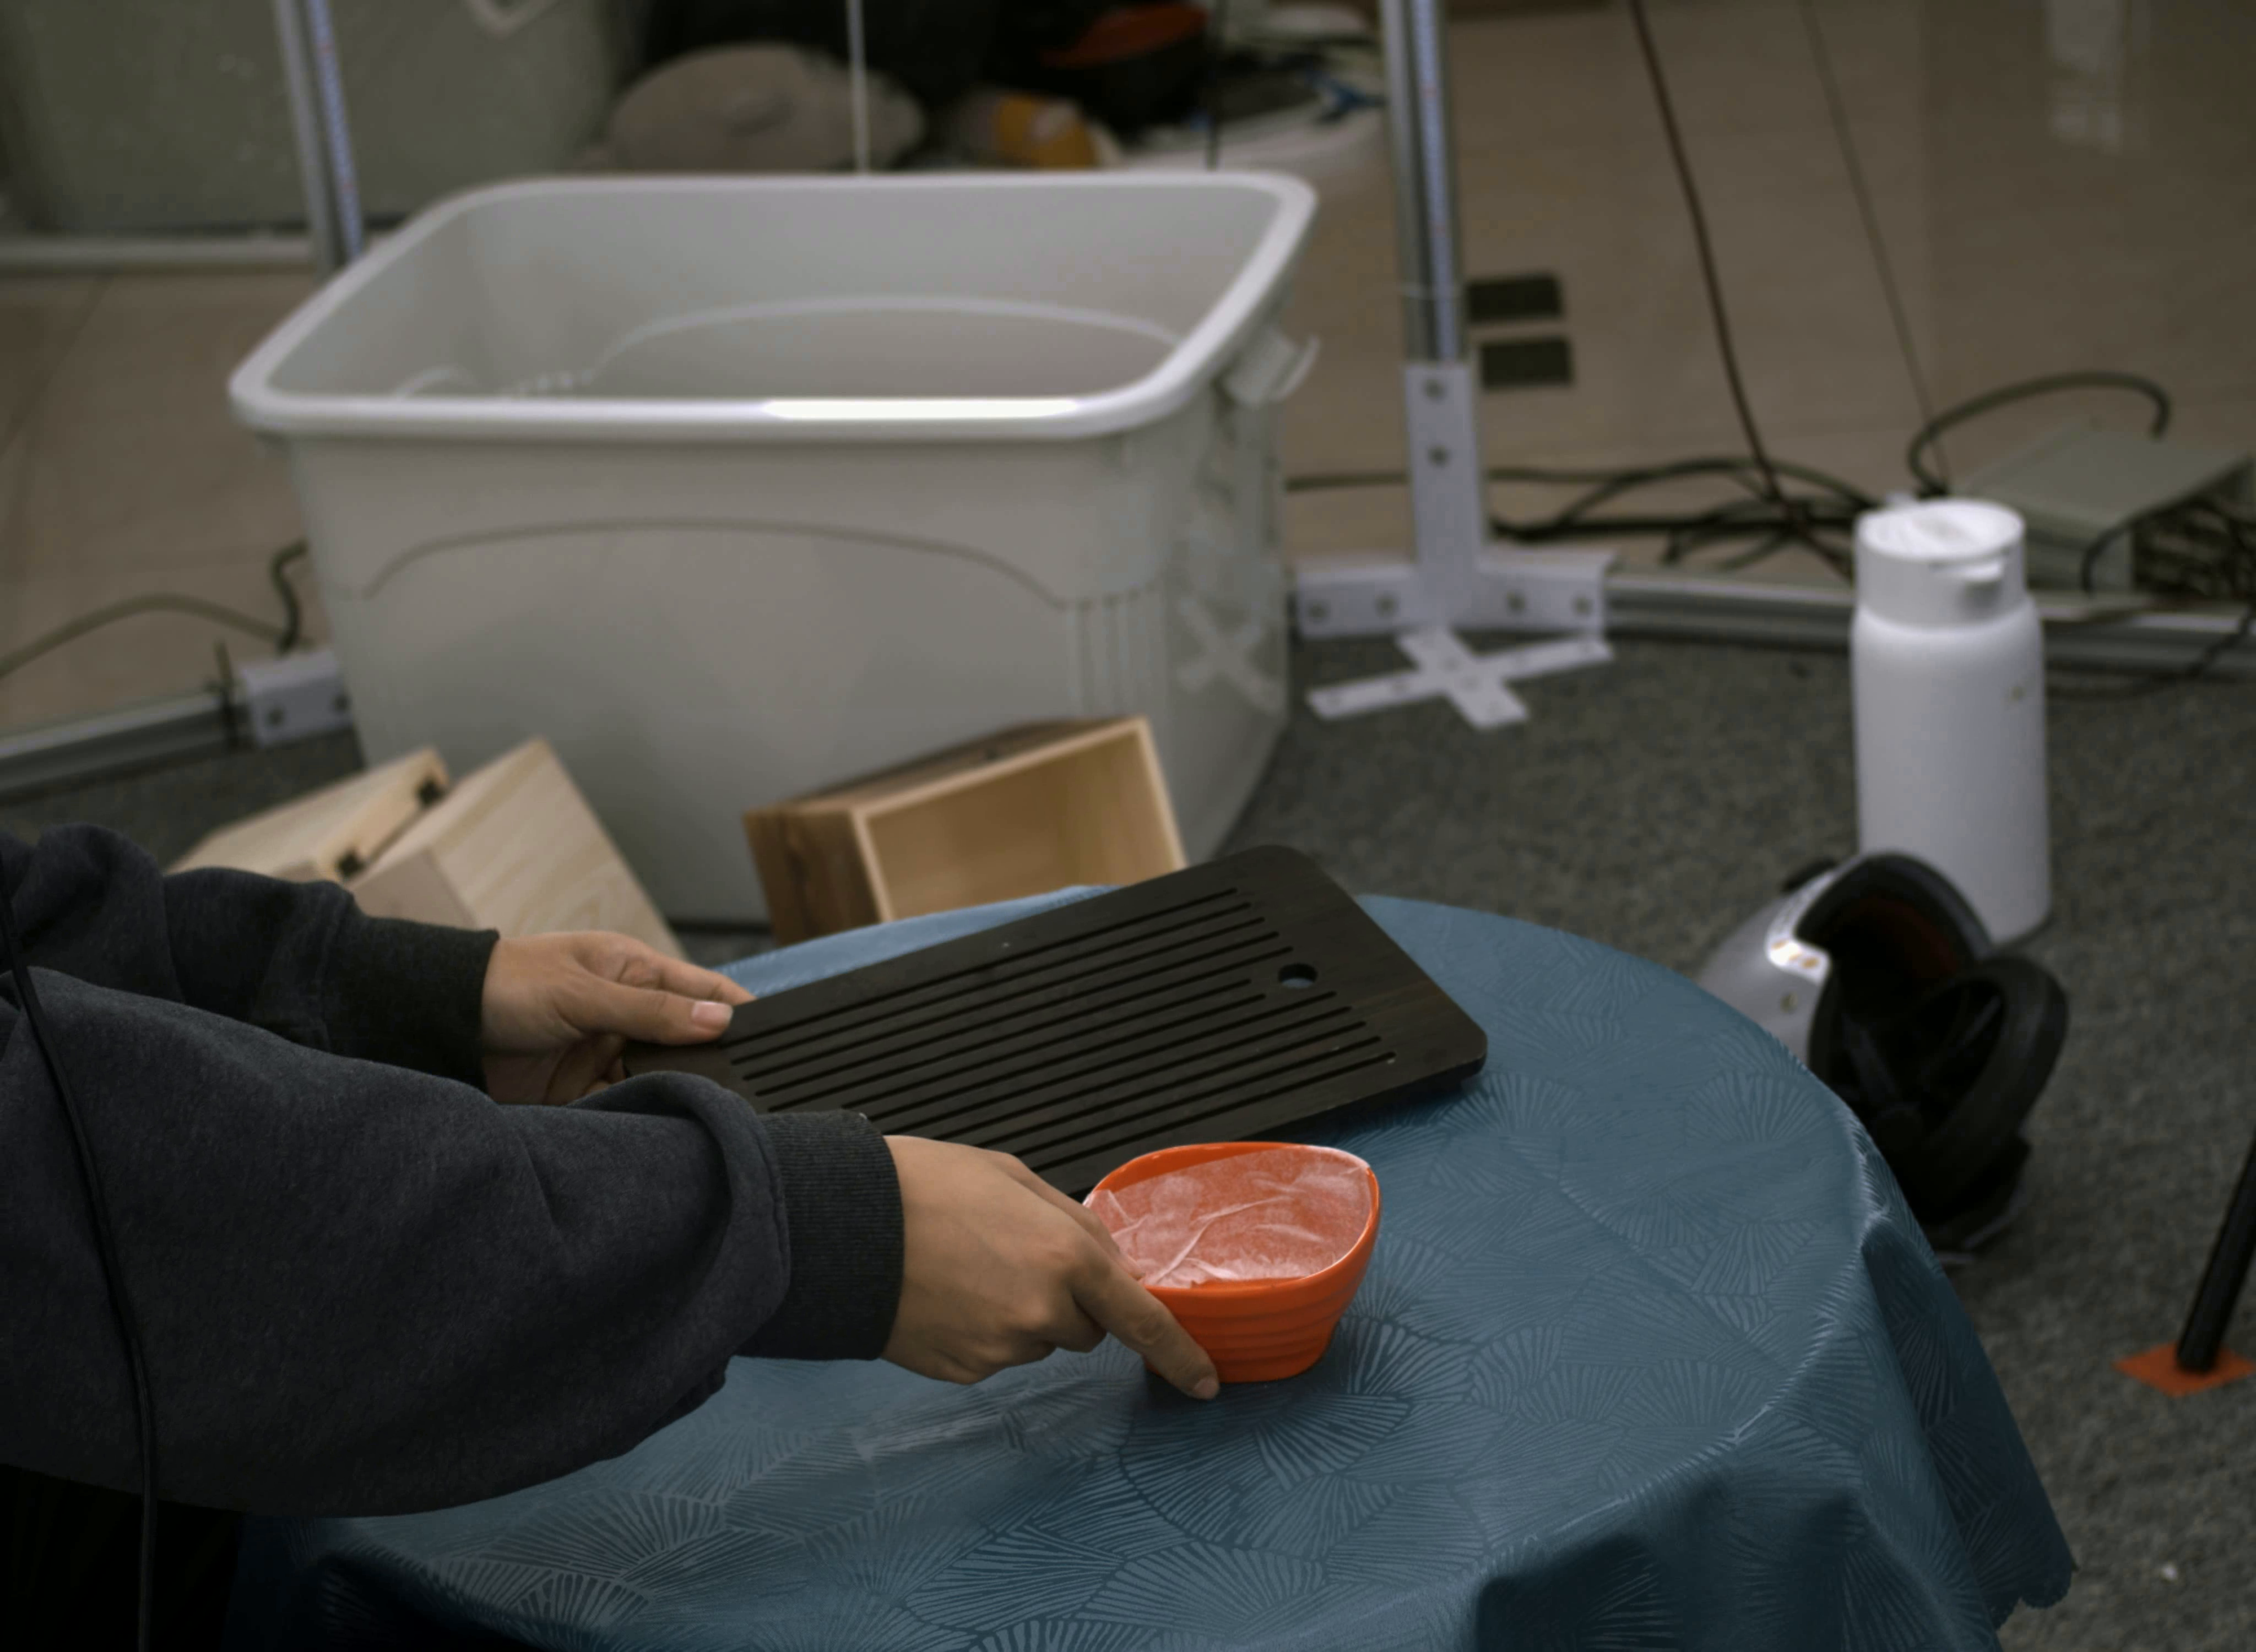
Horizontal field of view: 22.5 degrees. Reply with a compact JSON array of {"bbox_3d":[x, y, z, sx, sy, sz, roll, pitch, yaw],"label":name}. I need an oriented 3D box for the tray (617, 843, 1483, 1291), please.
[{"bbox_3d":[-0.030,0.092,2.196,0.304,0.019,0.167,-17,38,-22],"label":"tray"}]

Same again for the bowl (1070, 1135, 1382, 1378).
[{"bbox_3d":[0.037,0.158,2.030,0.119,0.052,0.117,-4,26,2],"label":"bowl"}]
